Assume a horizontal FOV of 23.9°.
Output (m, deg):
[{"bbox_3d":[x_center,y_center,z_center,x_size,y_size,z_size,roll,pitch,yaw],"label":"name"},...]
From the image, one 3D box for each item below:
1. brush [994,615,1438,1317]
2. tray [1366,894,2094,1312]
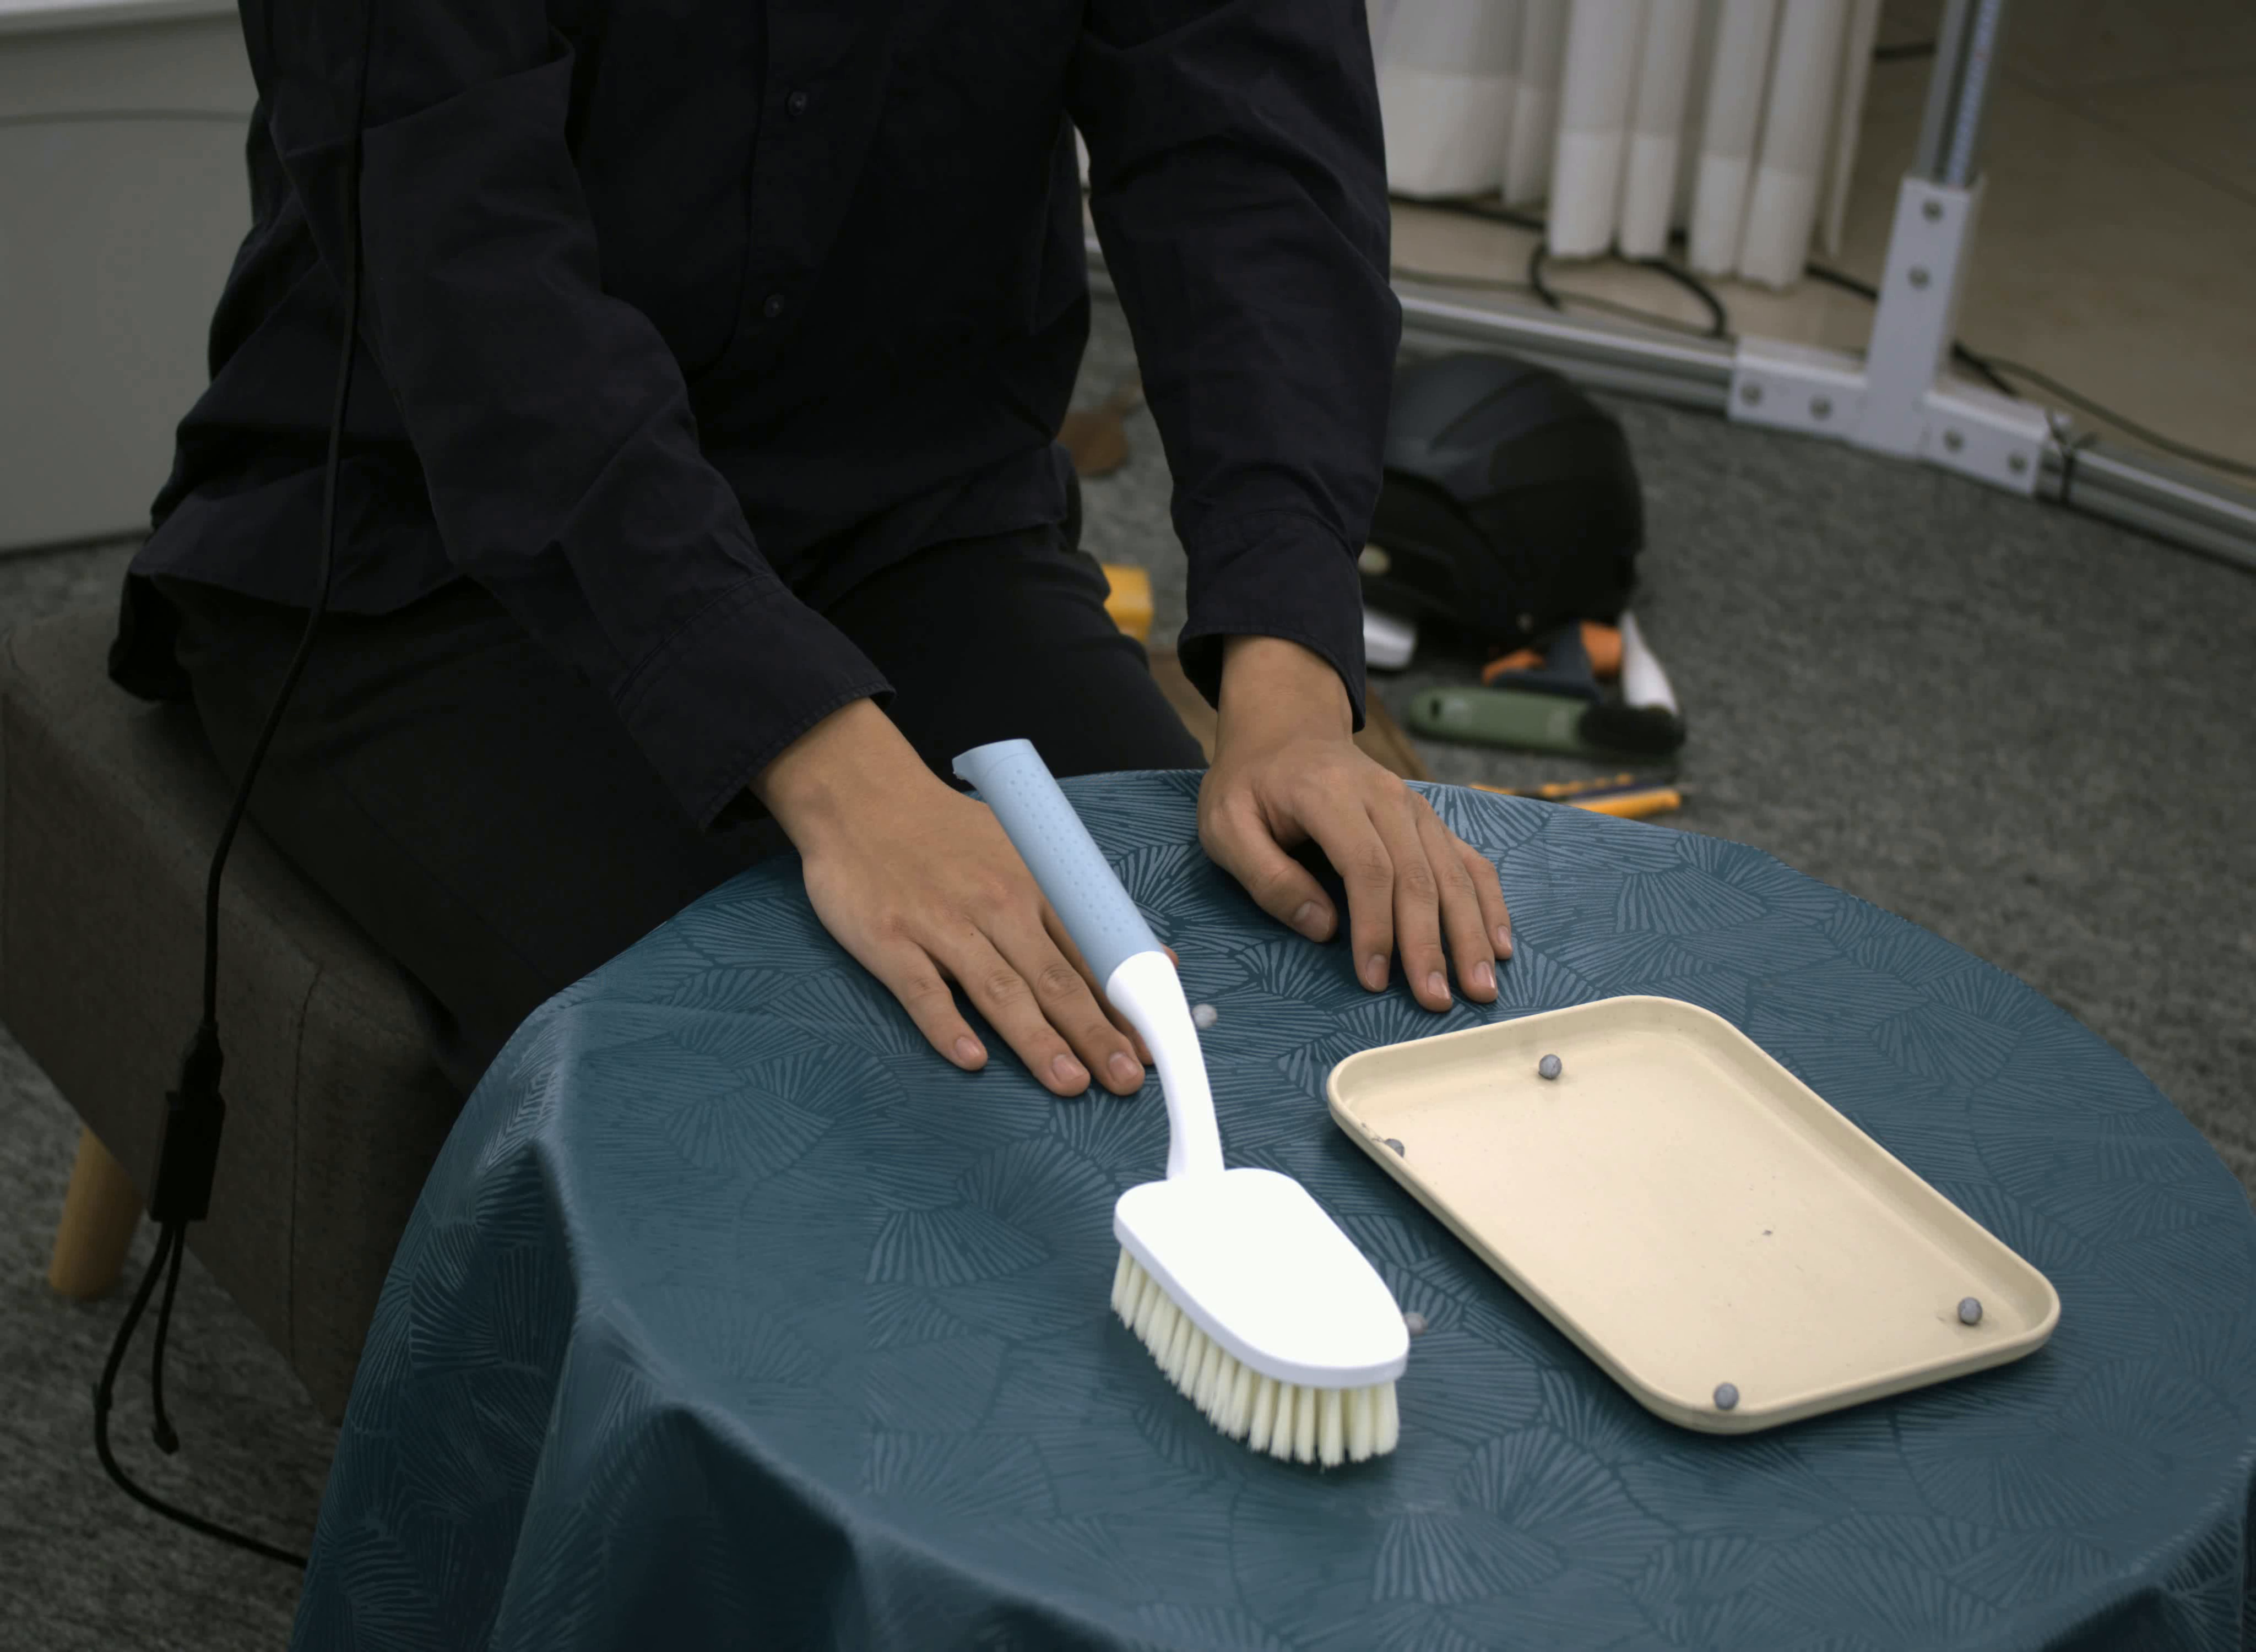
[{"bbox_3d":[0.022,0.055,1.795,0.082,0.084,0.328,32,19,-44],"label":"brush"},{"bbox_3d":[0.203,0.094,1.832,0.170,0.017,0.242,-10,31,-29],"label":"tray"}]
